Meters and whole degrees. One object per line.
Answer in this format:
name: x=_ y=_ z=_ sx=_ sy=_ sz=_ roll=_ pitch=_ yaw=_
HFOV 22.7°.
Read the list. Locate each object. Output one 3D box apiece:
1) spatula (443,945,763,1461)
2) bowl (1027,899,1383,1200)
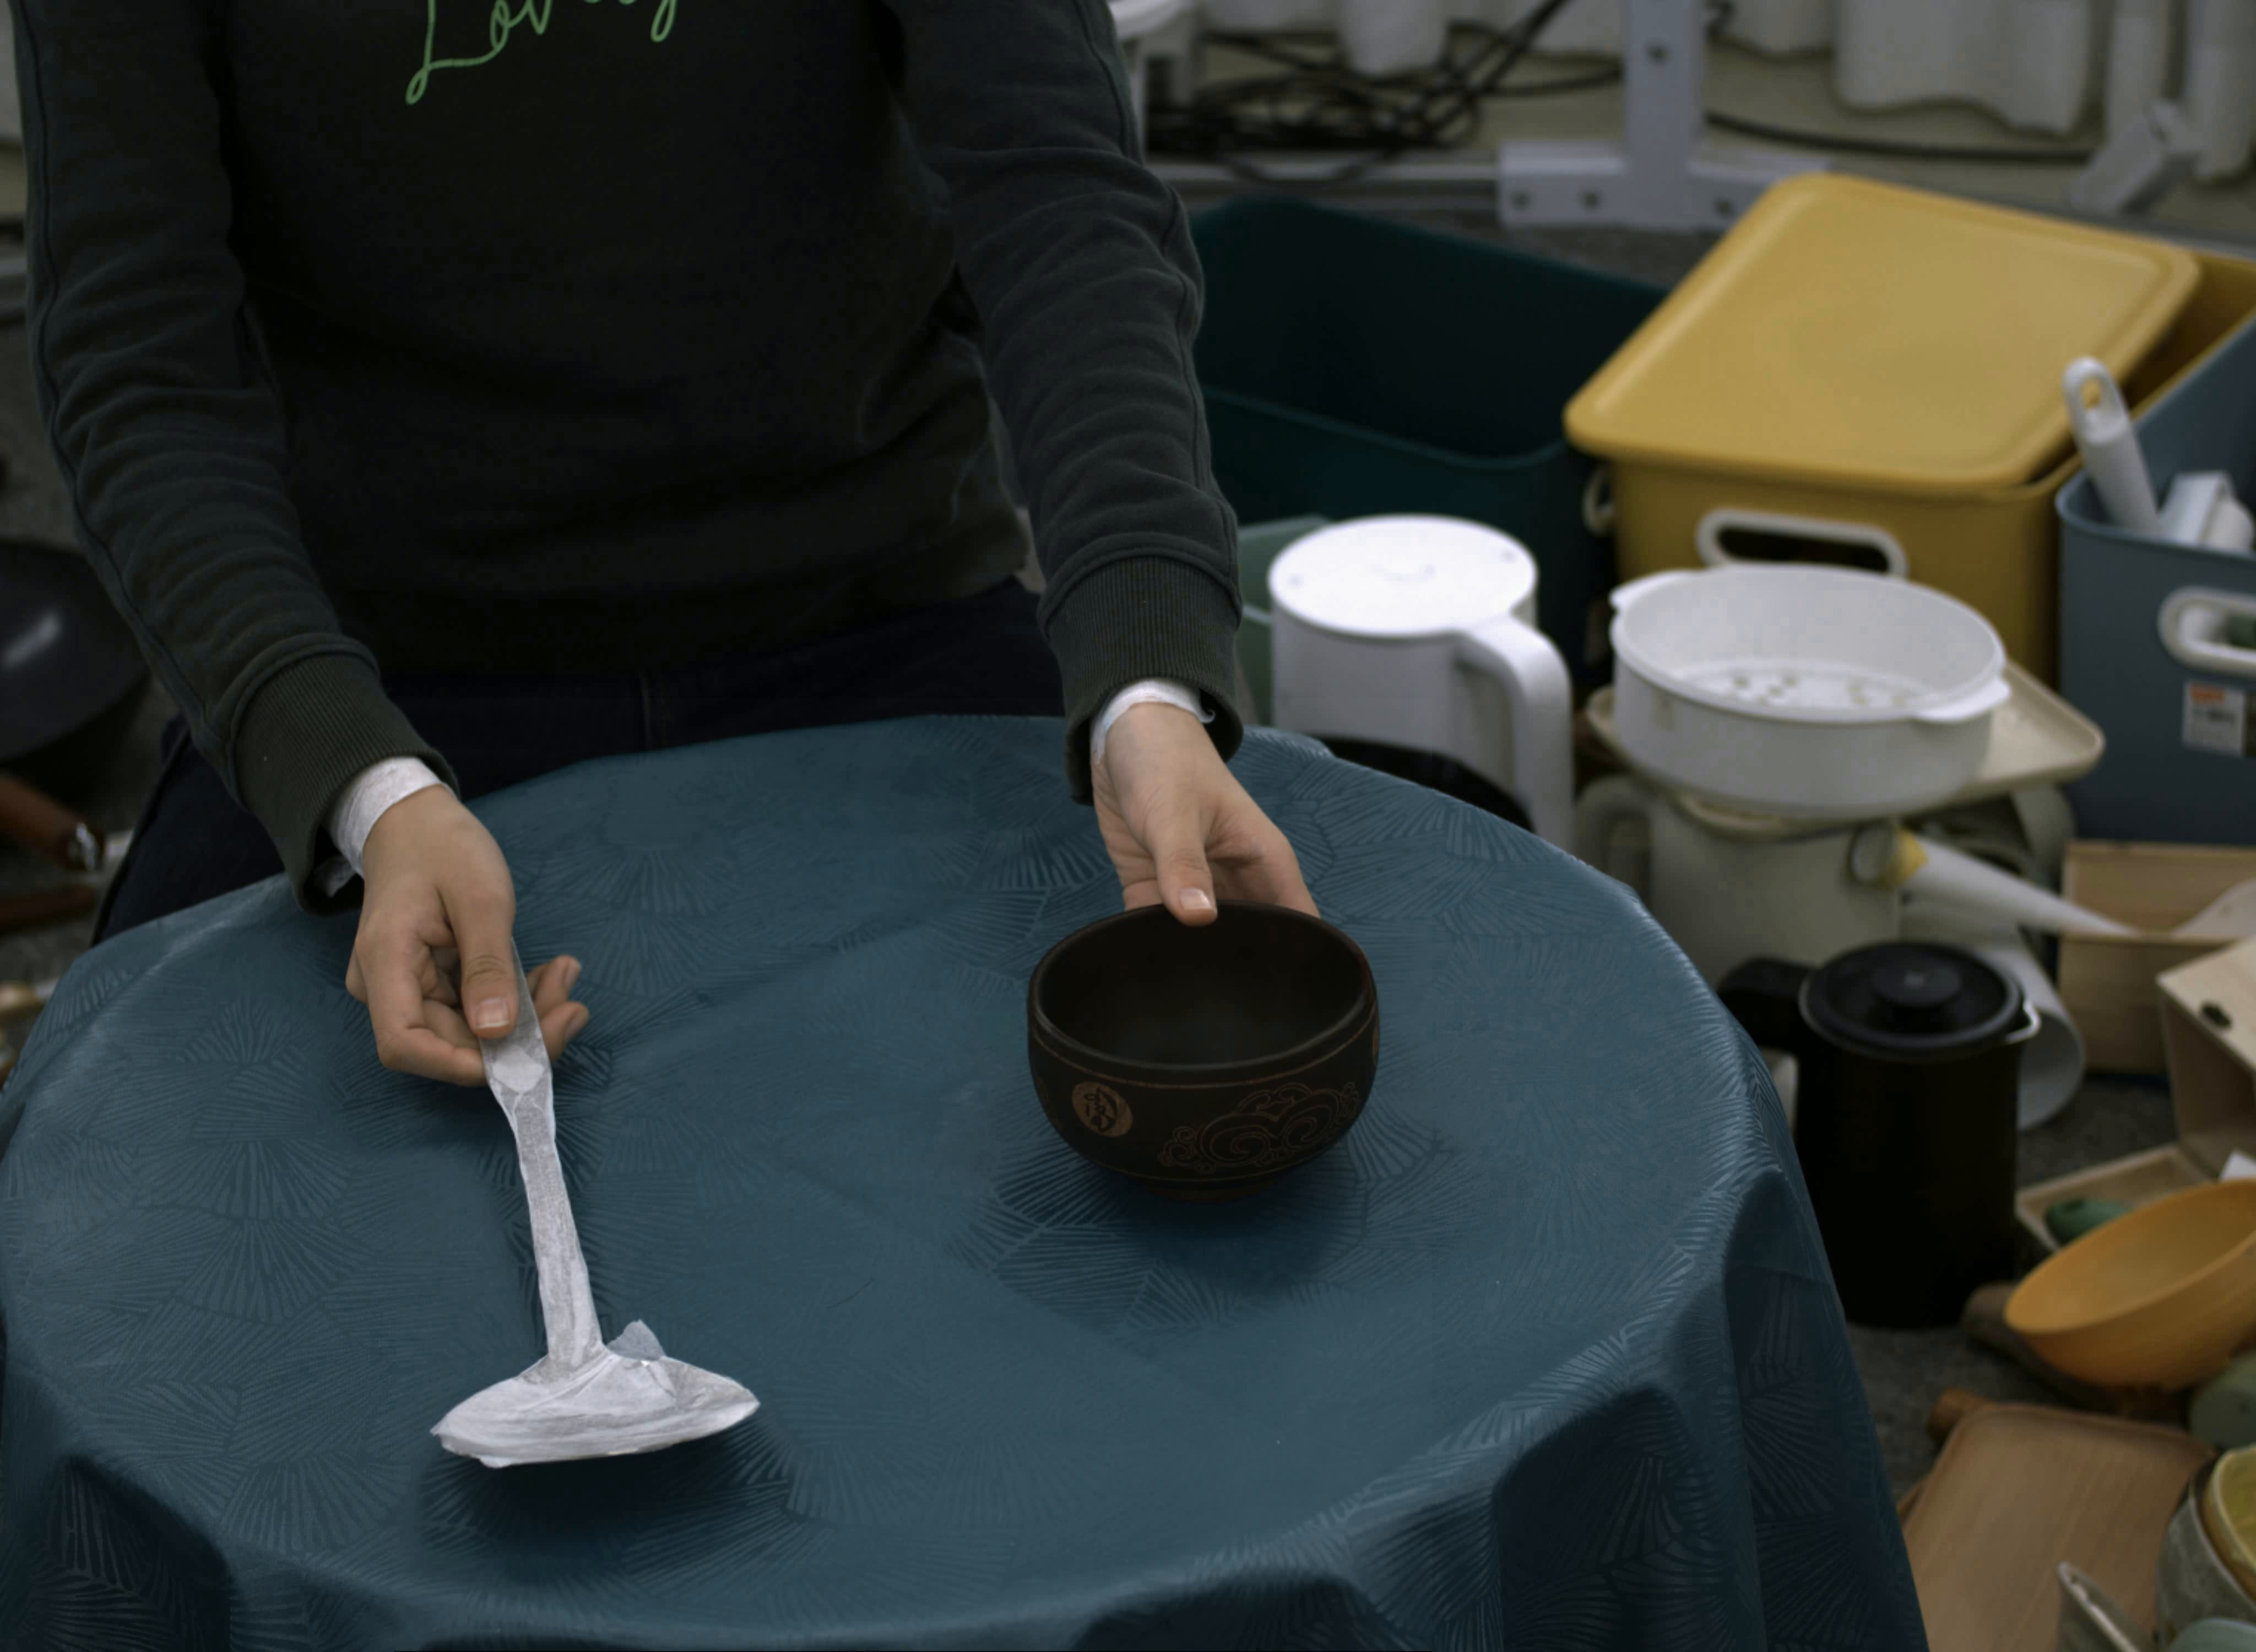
spatula: x=-0.187 y=0.115 z=1.841 sx=0.098 sy=0.044 sz=0.369 roll=-8 pitch=30 yaw=-8
bowl: x=0.026 y=0.080 z=1.862 sx=0.117 sy=0.069 sz=0.120 roll=-2 pitch=25 yaw=1
